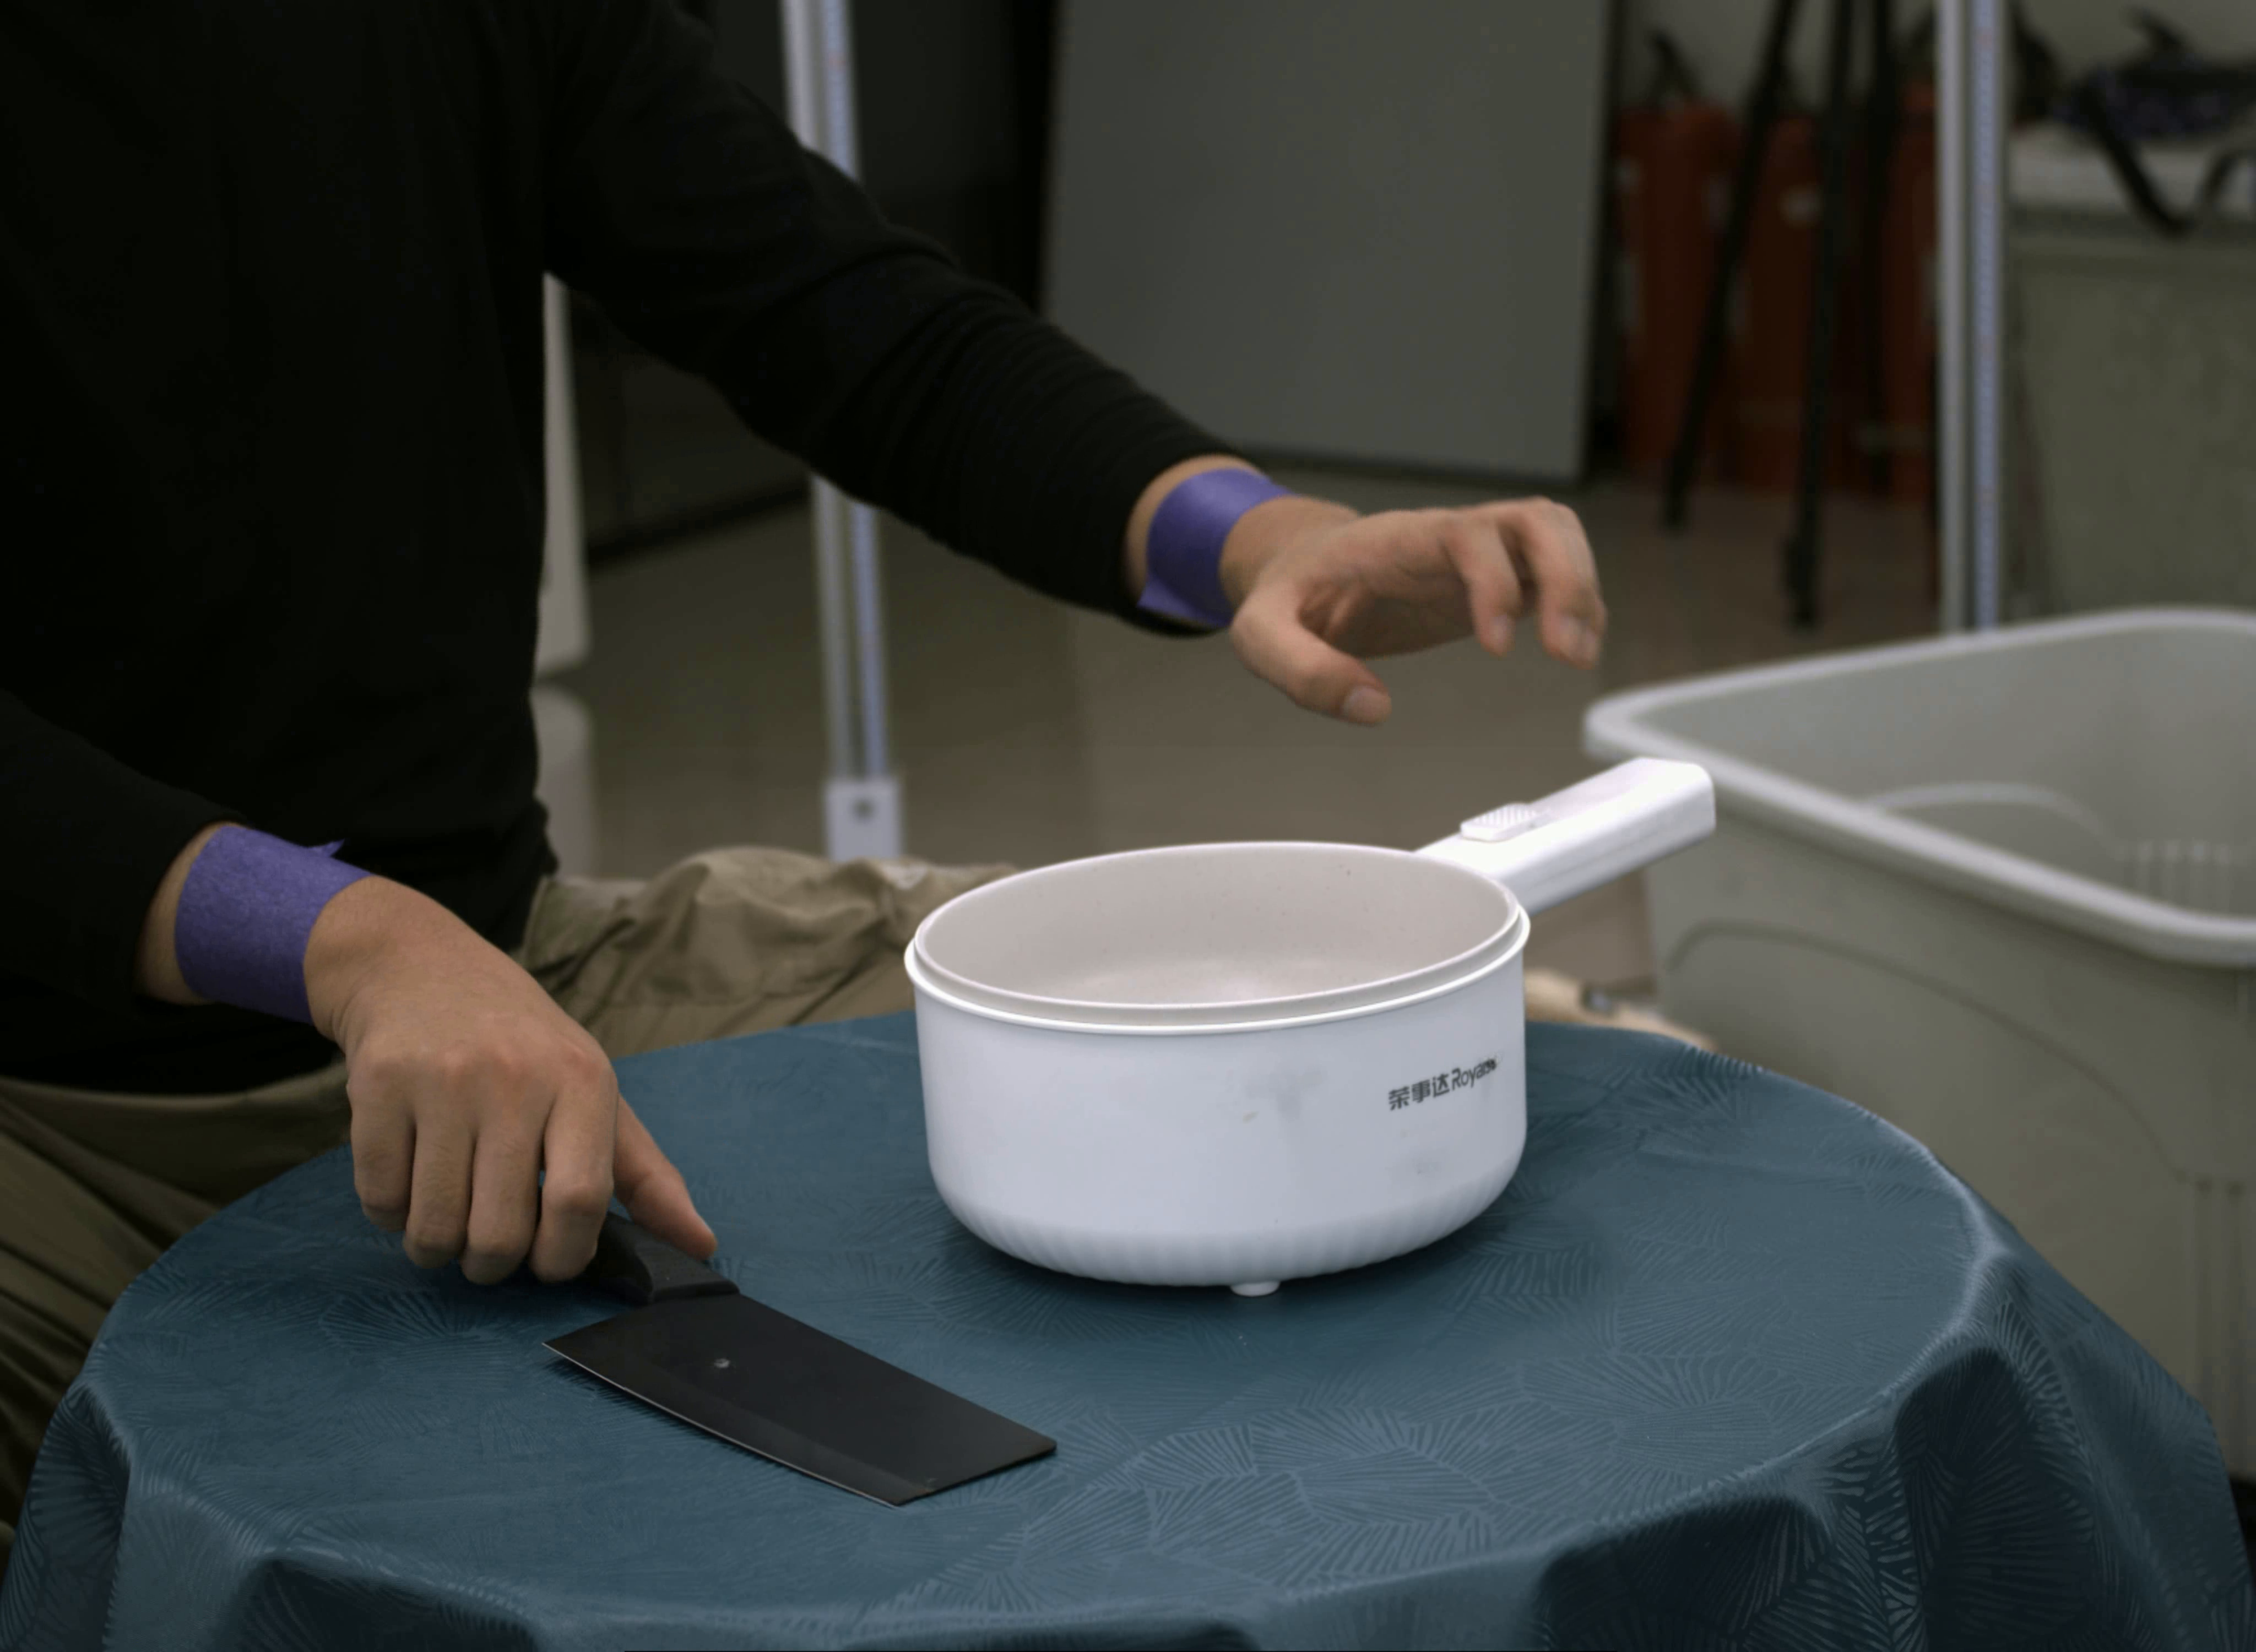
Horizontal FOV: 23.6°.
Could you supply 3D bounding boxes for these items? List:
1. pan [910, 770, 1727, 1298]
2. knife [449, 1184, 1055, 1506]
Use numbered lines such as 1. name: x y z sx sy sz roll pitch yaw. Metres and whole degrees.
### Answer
1. pan: 0.081 0.063 1.783 0.203 0.103 0.348 7 17 41
2. knife: -0.129 0.156 1.645 0.079 0.021 0.305 -14 19 -29
